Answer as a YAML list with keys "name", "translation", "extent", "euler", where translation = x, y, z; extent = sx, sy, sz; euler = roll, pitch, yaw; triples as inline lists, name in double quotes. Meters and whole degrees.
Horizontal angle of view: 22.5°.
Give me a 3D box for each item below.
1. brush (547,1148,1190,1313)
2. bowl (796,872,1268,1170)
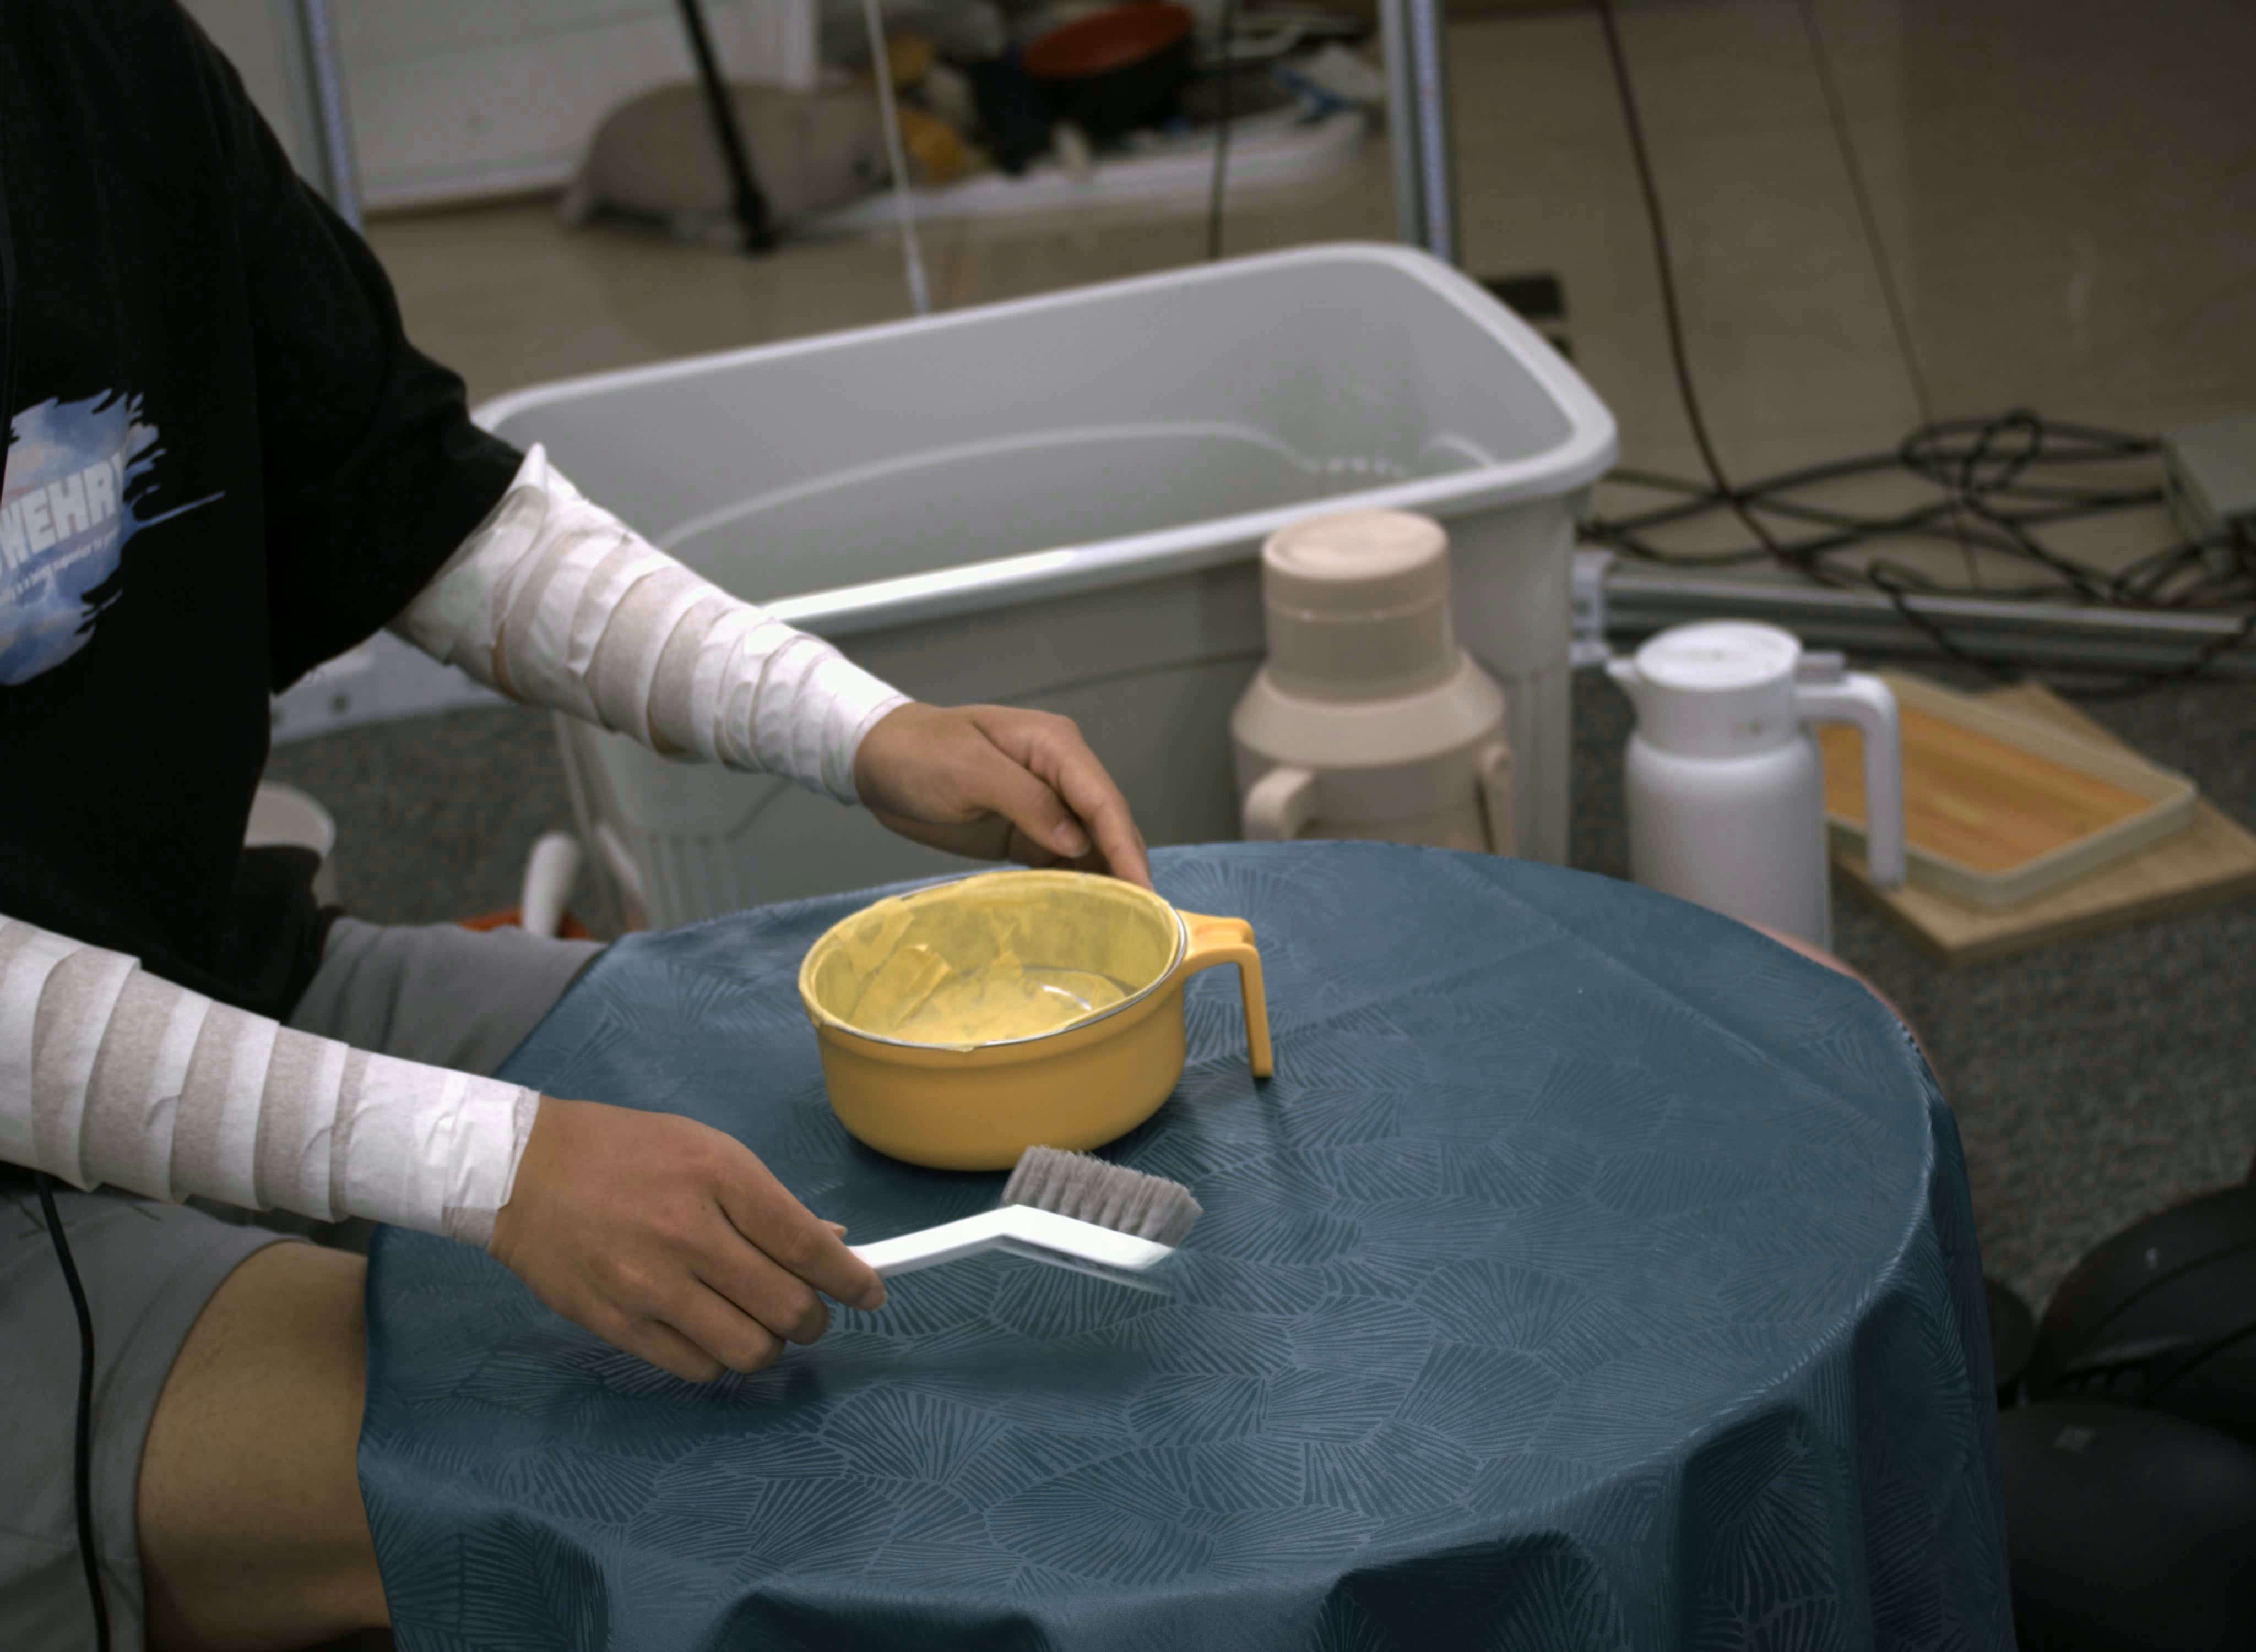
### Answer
- name: "brush"
  translation: [-0.096, 0.146, 2.051]
  extent: [0.243, 0.050, 0.035]
  euler: [-5, -19, 18]
- name: "bowl"
  translation: [-0.036, 0.078, 2.207]
  extent: [0.179, 0.075, 0.151]
  euler: [-8, 21, -5]
